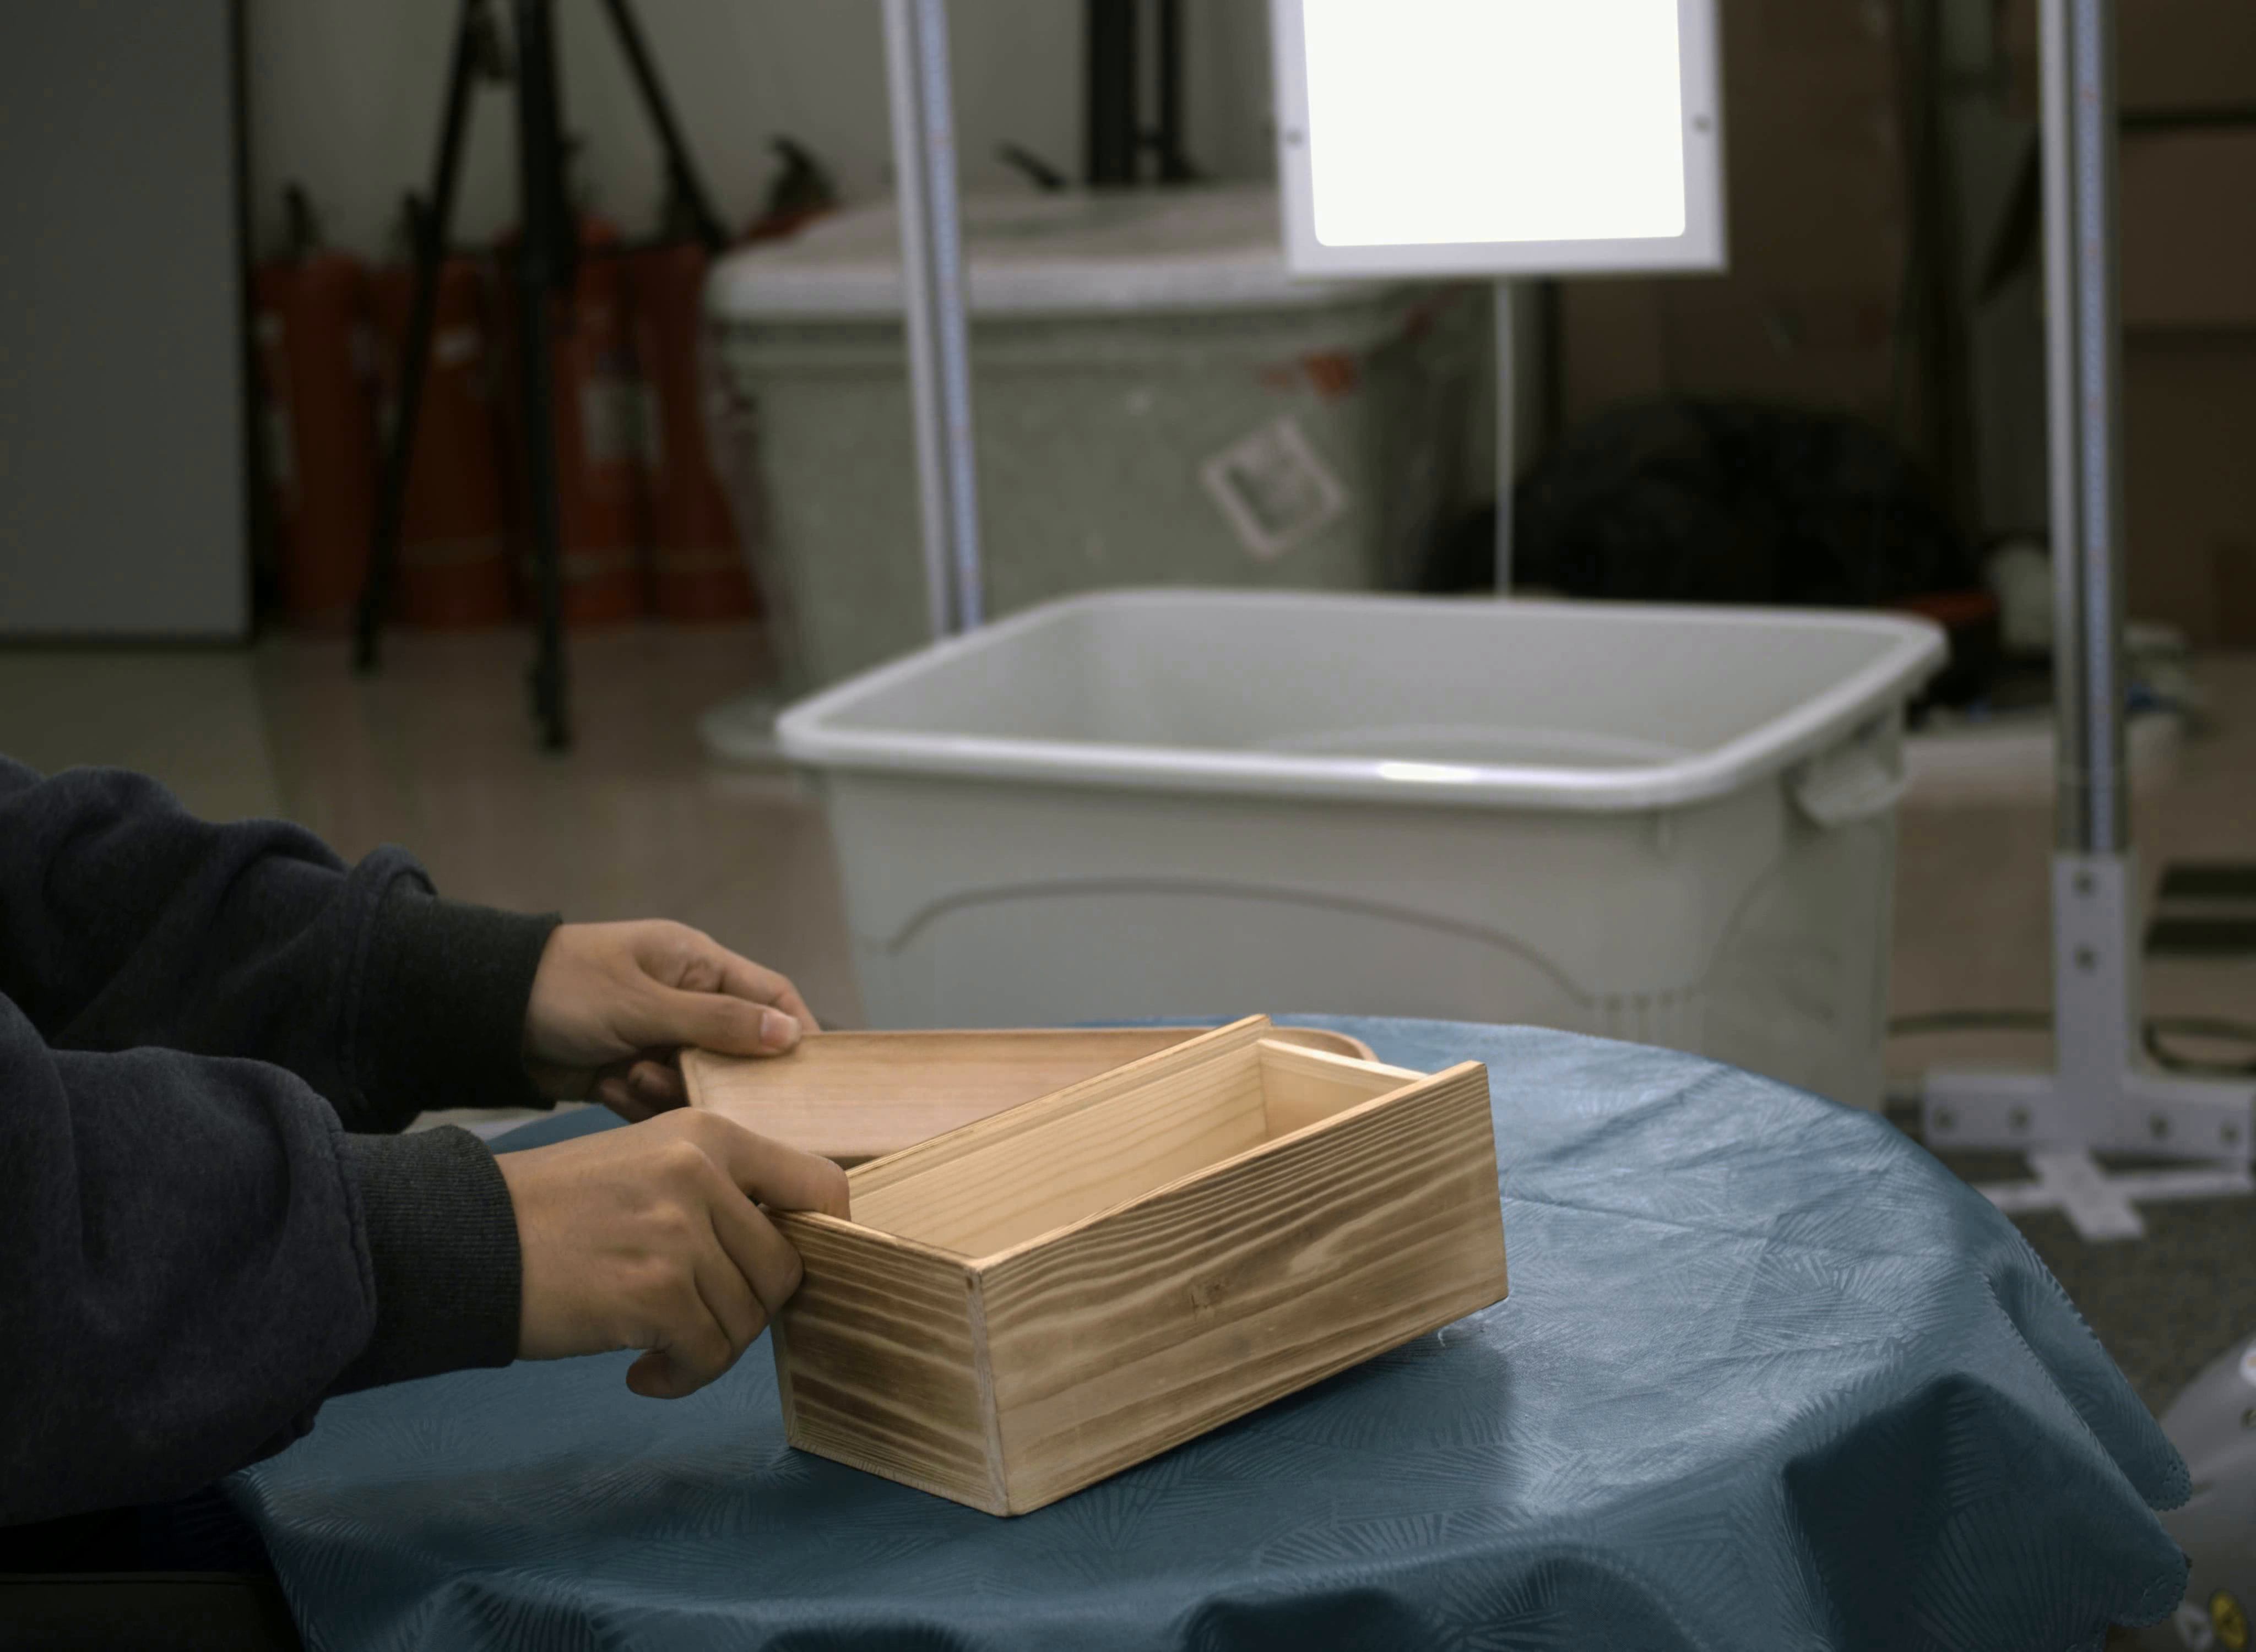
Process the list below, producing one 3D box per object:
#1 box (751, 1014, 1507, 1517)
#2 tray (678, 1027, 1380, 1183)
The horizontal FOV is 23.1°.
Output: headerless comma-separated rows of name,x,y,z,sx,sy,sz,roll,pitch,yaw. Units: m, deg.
box,0.003,0.131,1.690,0.206,0.080,0.110,-20,20,-37
tray,-0.030,0.097,1.924,0.248,0.023,0.131,0,14,-7
